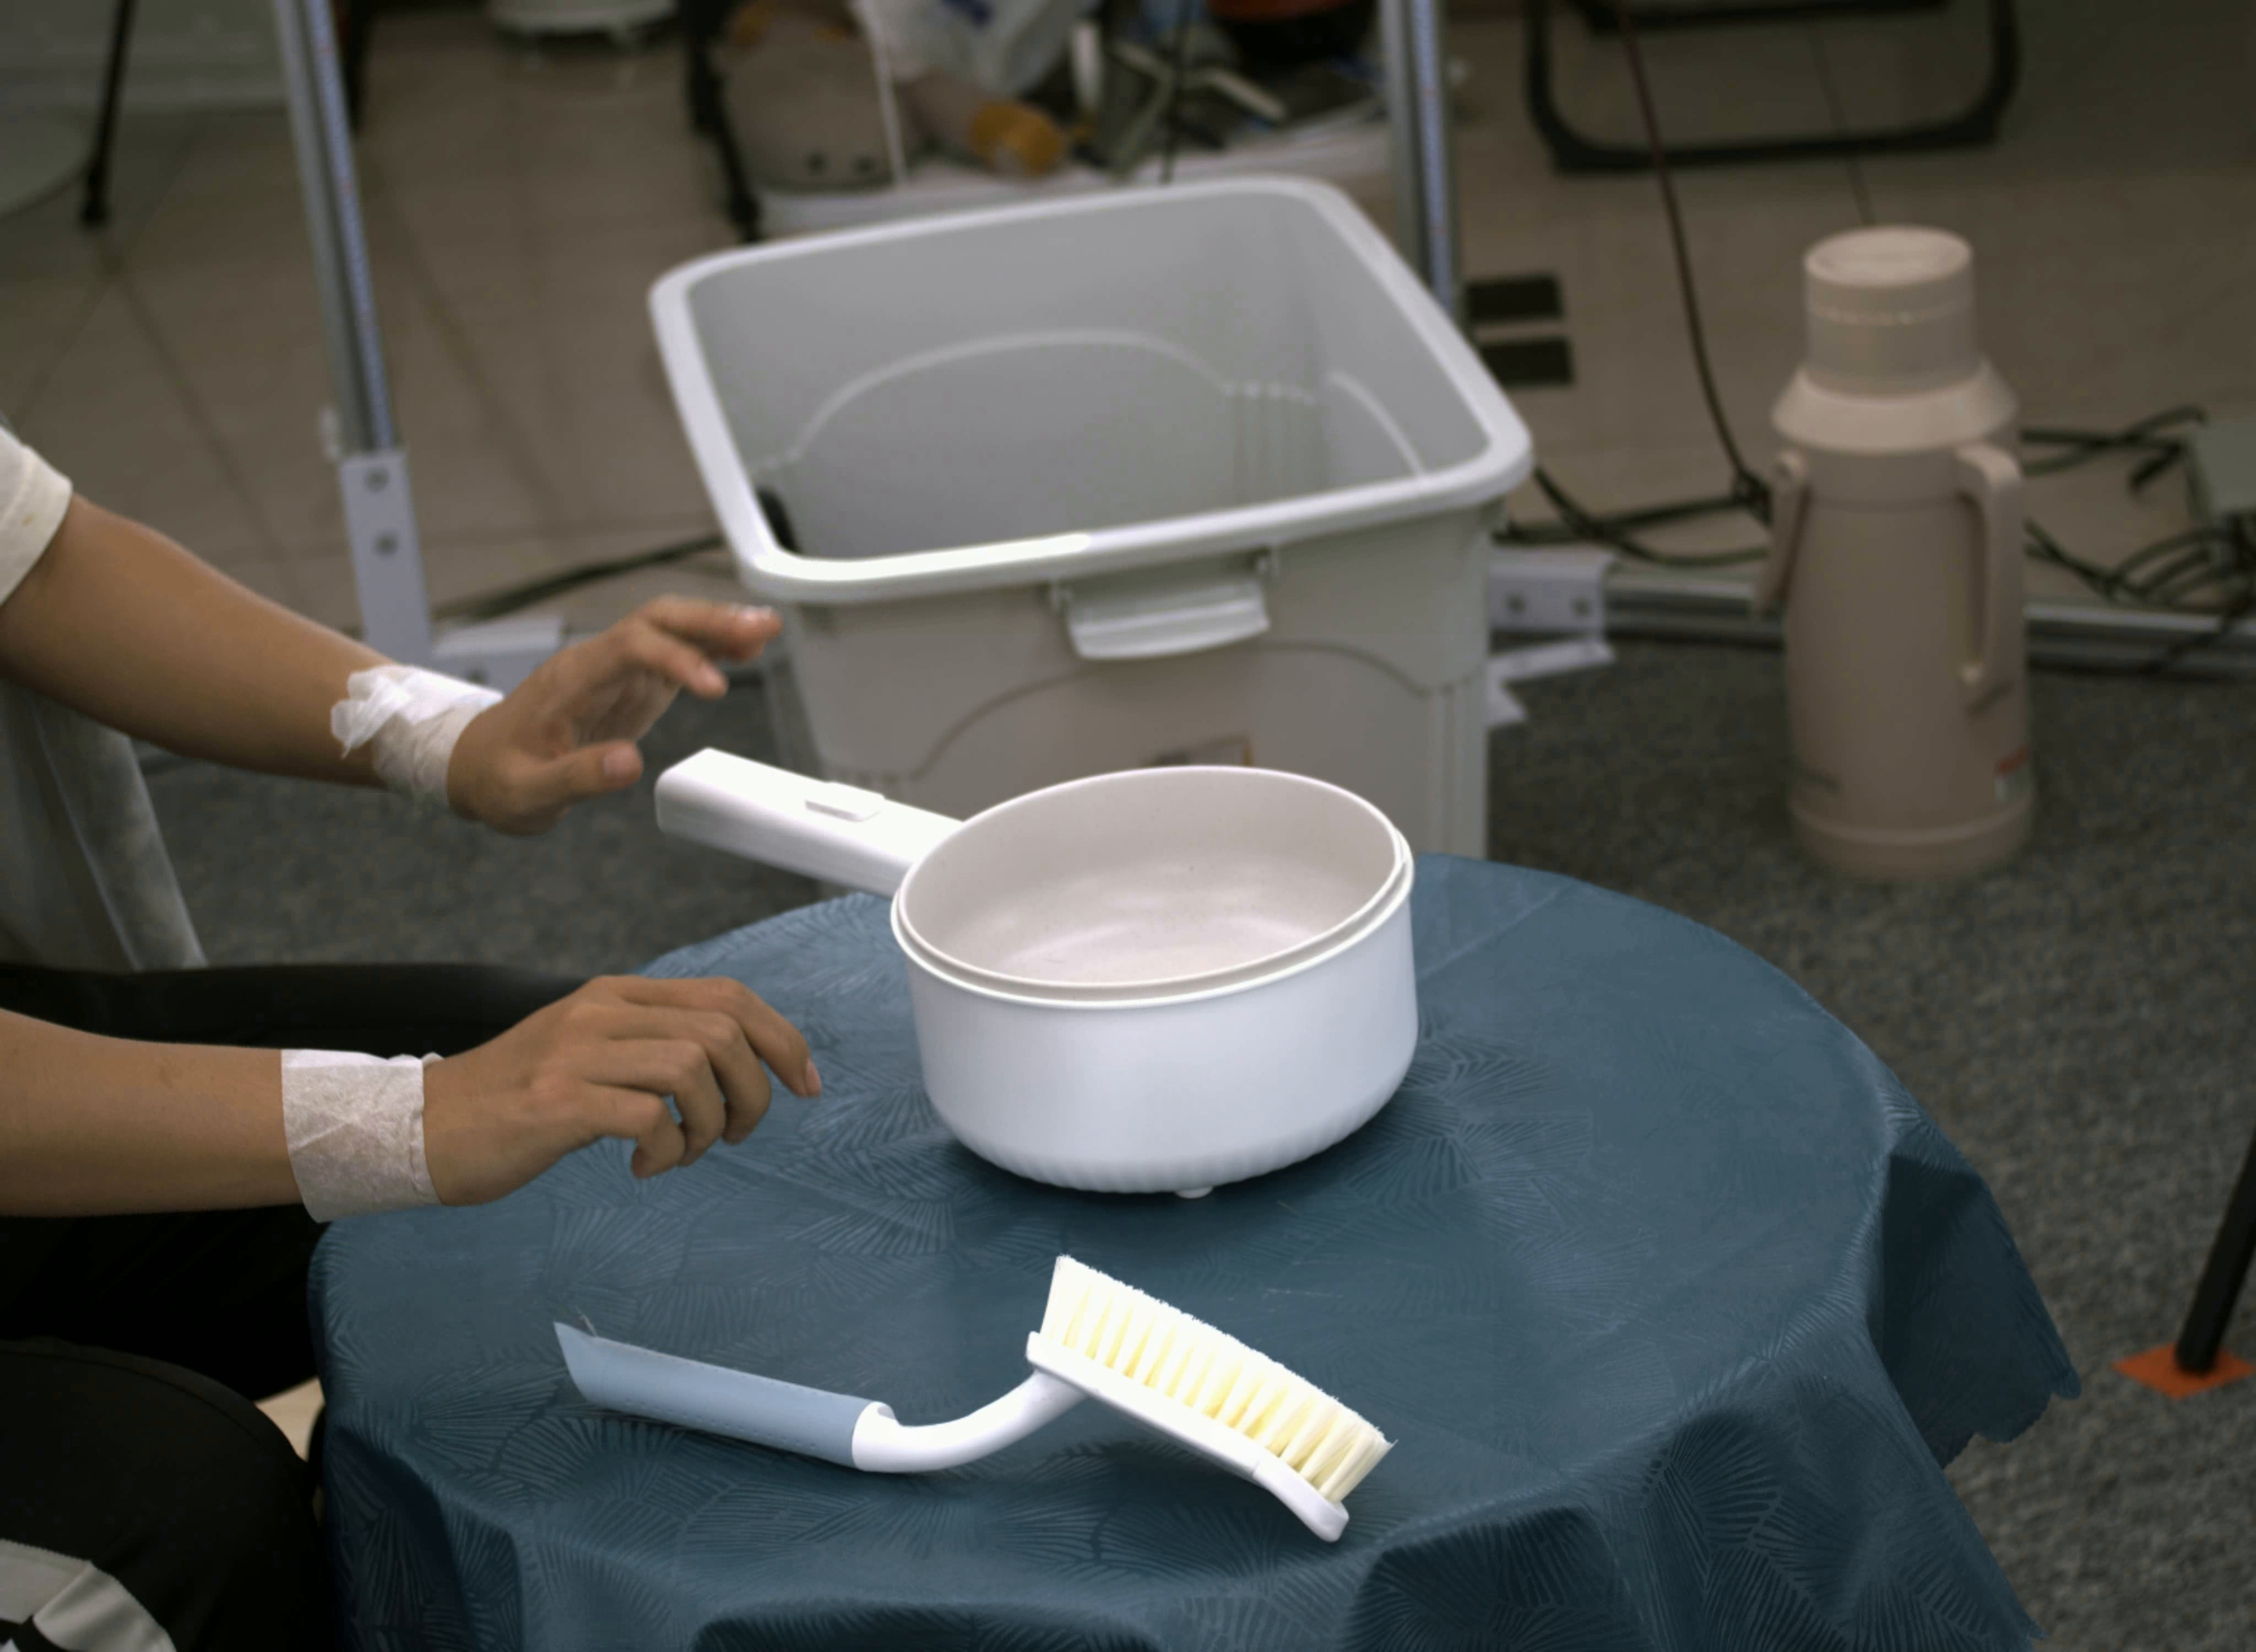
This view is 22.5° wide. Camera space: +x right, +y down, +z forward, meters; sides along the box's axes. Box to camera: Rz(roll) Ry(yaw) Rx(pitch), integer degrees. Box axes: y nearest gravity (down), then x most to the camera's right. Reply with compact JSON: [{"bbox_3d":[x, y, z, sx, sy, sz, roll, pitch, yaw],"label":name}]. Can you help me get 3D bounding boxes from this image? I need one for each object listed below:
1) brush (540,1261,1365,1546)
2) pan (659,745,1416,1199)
[{"bbox_3d":[-0.064,0.179,1.981,0.324,0.084,0.083,10,37,28],"label":"brush"},{"bbox_3d":[-0.045,0.048,2.237,0.352,0.104,0.199,14,33,38],"label":"pan"}]
